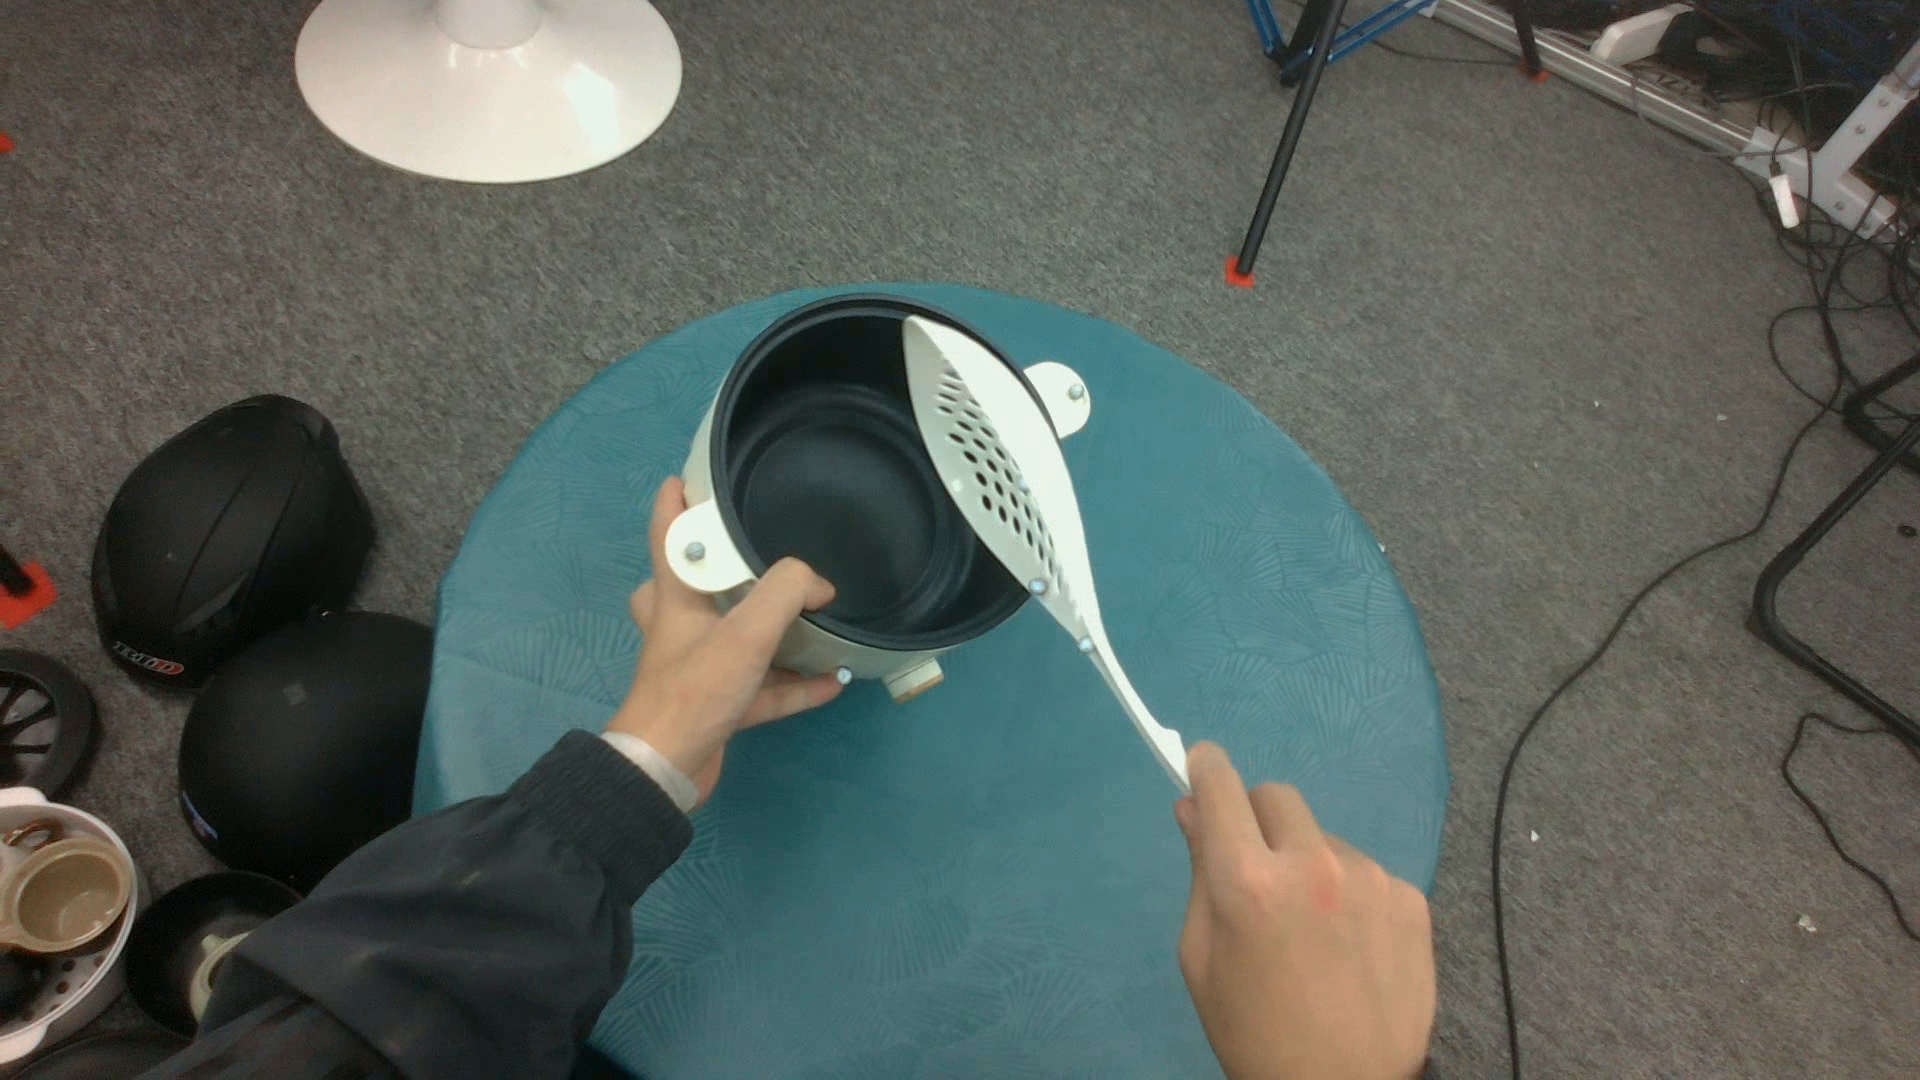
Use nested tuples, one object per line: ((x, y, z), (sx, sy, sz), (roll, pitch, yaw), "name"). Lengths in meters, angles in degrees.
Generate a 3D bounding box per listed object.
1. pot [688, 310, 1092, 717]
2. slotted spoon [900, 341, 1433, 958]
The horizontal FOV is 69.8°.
((-0.043, -0.004, 0.731), (0.241, 0.142, 0.190), (-29, 81, -26), "pot")
((0.076, 0.042, 0.607), (0.050, 0.136, 0.348), (-27, 63, -11), "slotted spoon")
